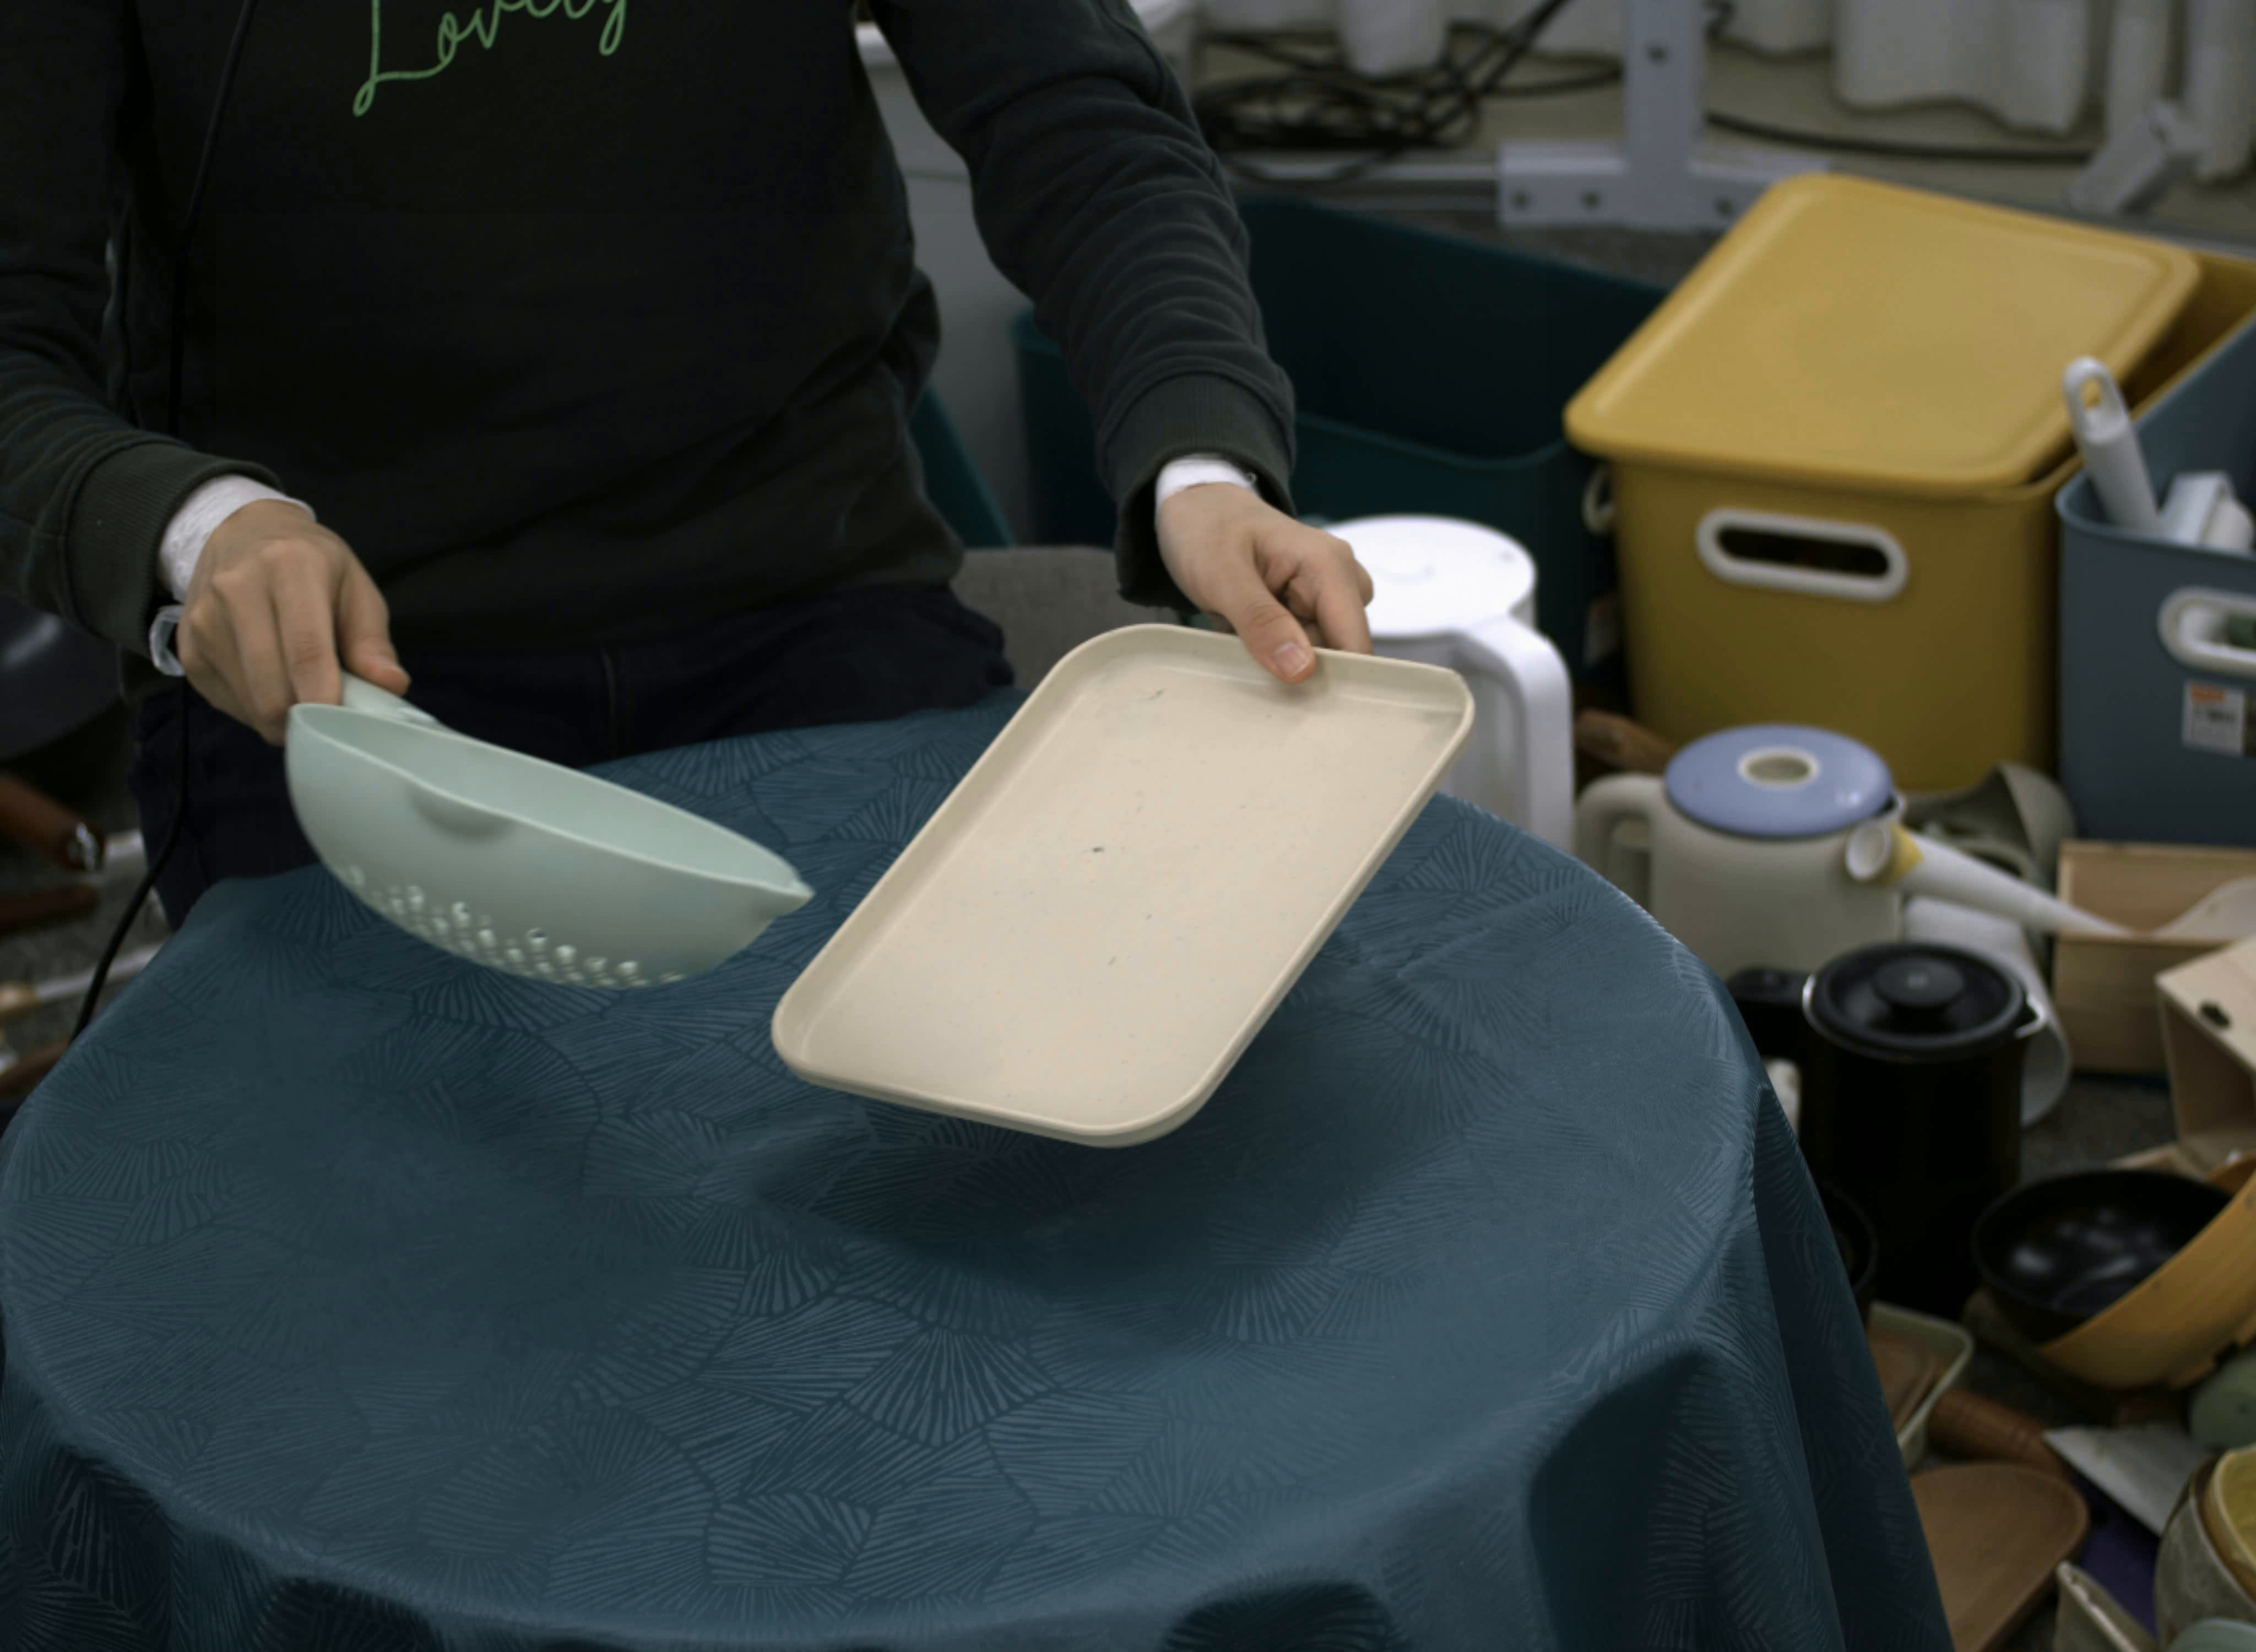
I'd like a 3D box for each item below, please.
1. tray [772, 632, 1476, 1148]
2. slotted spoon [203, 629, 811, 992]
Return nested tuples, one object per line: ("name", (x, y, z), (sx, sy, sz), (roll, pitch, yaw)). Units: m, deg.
("tray", (0.002, 0.020, 1.881), (0.170, 0.017, 0.244), (10, 43, 32))
("slotted spoon", (-0.236, -0.021, 1.860), (0.169, 0.075, 0.360), (19, 11, -32))
